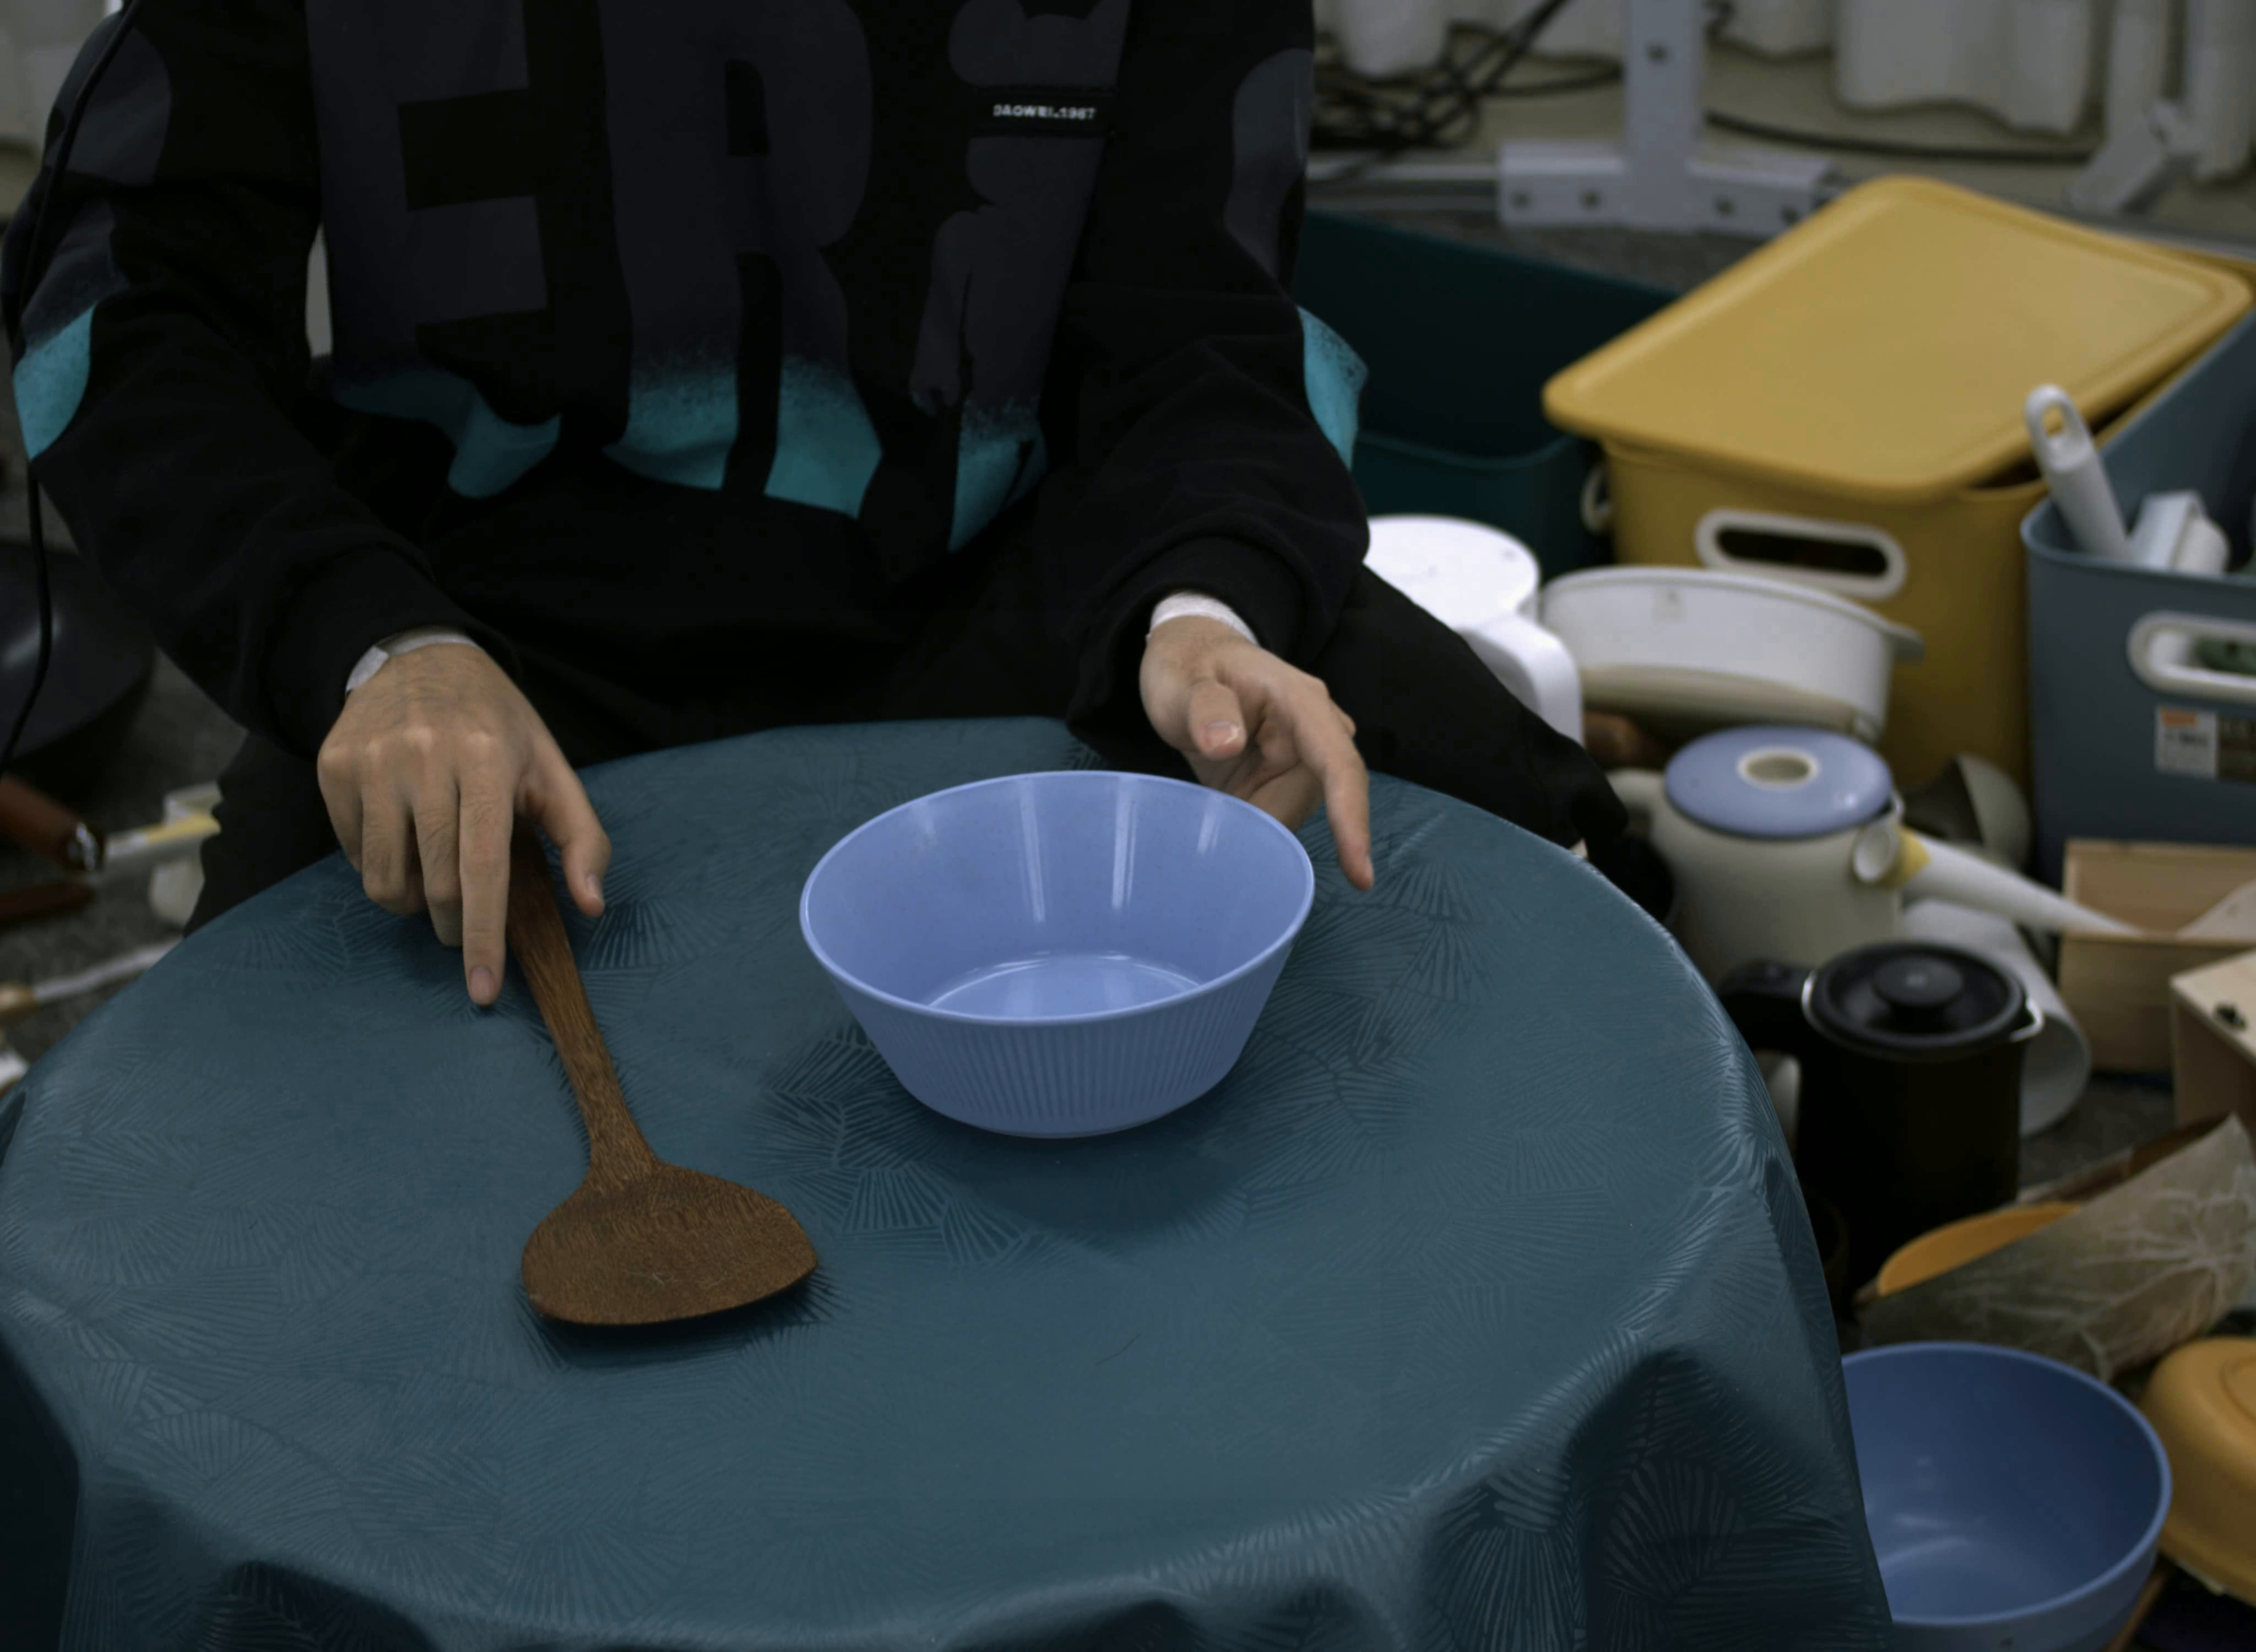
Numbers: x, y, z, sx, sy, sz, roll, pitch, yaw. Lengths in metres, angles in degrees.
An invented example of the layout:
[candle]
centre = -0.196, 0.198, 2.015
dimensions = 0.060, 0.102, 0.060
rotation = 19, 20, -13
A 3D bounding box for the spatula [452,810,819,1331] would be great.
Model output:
[spatula]
centre = -0.191, 0.076, 1.952
dimensions = 0.096, 0.015, 0.390
rotation = -9, 28, -13

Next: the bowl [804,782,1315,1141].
[bowl]
centre = -0.021, 0.052, 1.924
dimensions = 0.175, 0.069, 0.178
rotation = -3, 26, 2
